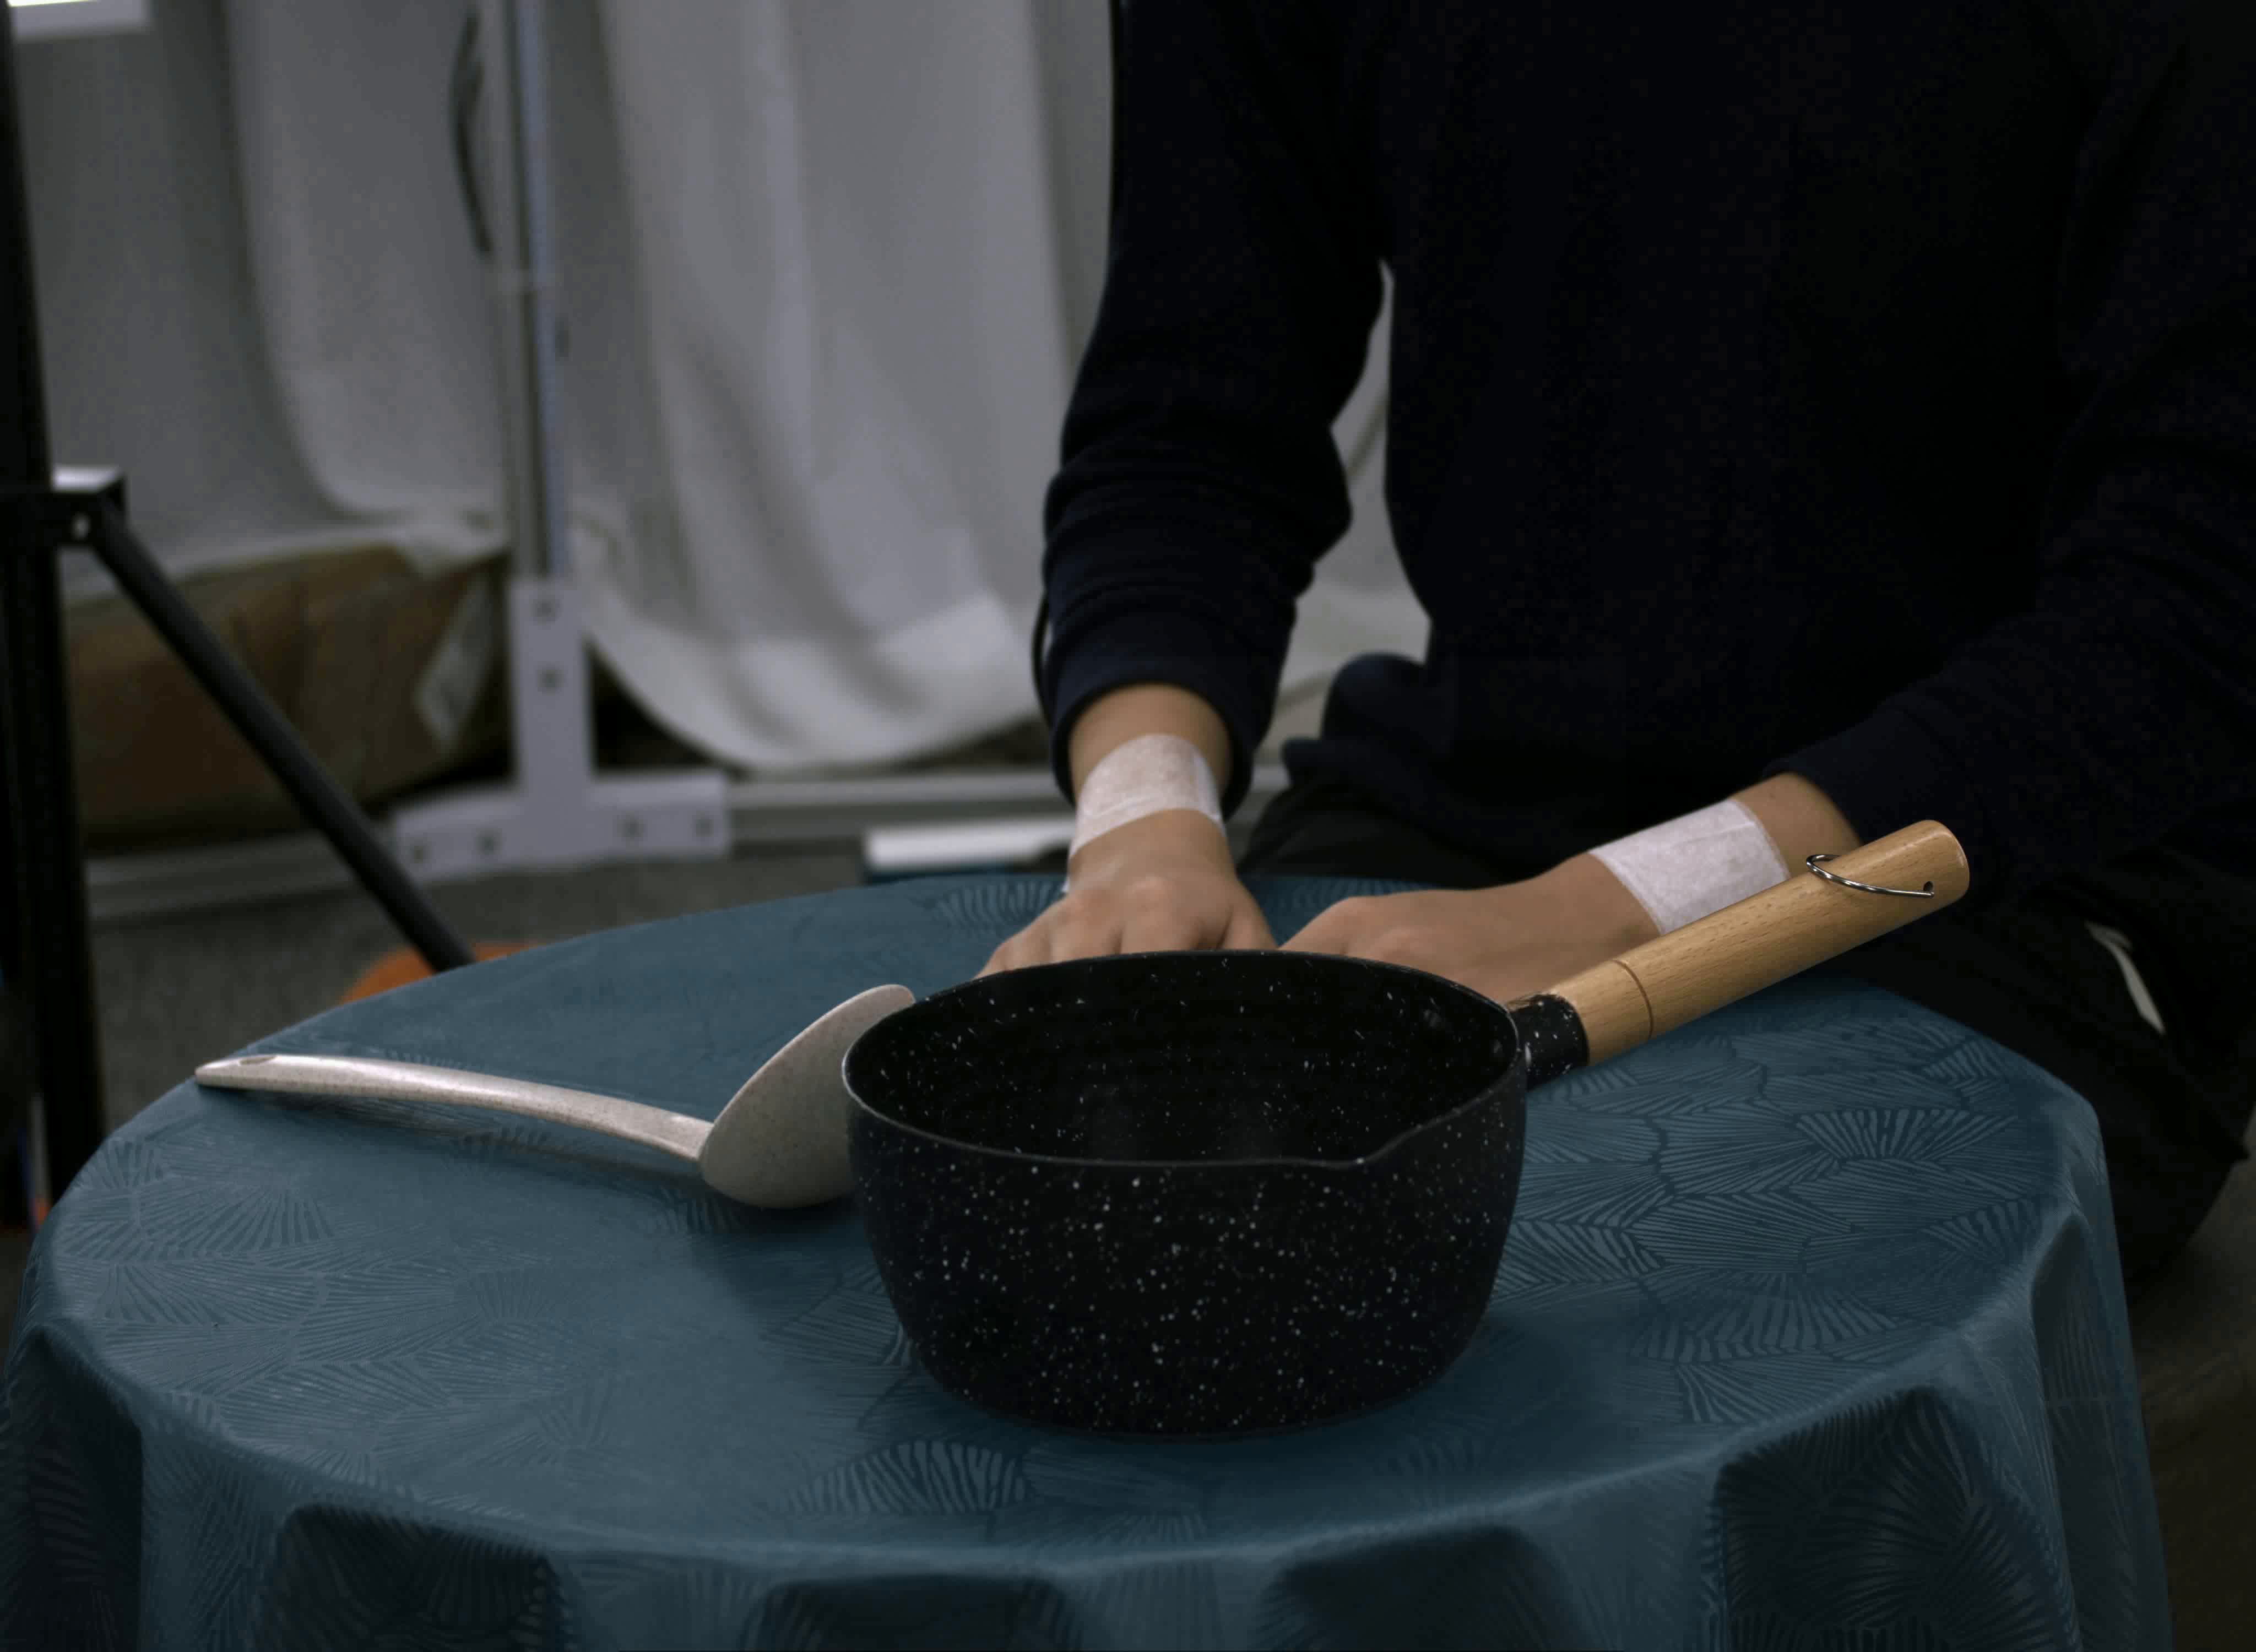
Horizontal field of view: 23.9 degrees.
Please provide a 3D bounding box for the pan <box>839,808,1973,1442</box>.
[{"bbox_3d":[0.086,0.076,1.458,0.336,0.108,0.212,-11,17,-24],"label":"pan"}]

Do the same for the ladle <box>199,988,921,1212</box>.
[{"bbox_3d":[-0.182,0.064,1.617,0.280,0.069,0.087,9,23,35],"label":"ladle"}]
